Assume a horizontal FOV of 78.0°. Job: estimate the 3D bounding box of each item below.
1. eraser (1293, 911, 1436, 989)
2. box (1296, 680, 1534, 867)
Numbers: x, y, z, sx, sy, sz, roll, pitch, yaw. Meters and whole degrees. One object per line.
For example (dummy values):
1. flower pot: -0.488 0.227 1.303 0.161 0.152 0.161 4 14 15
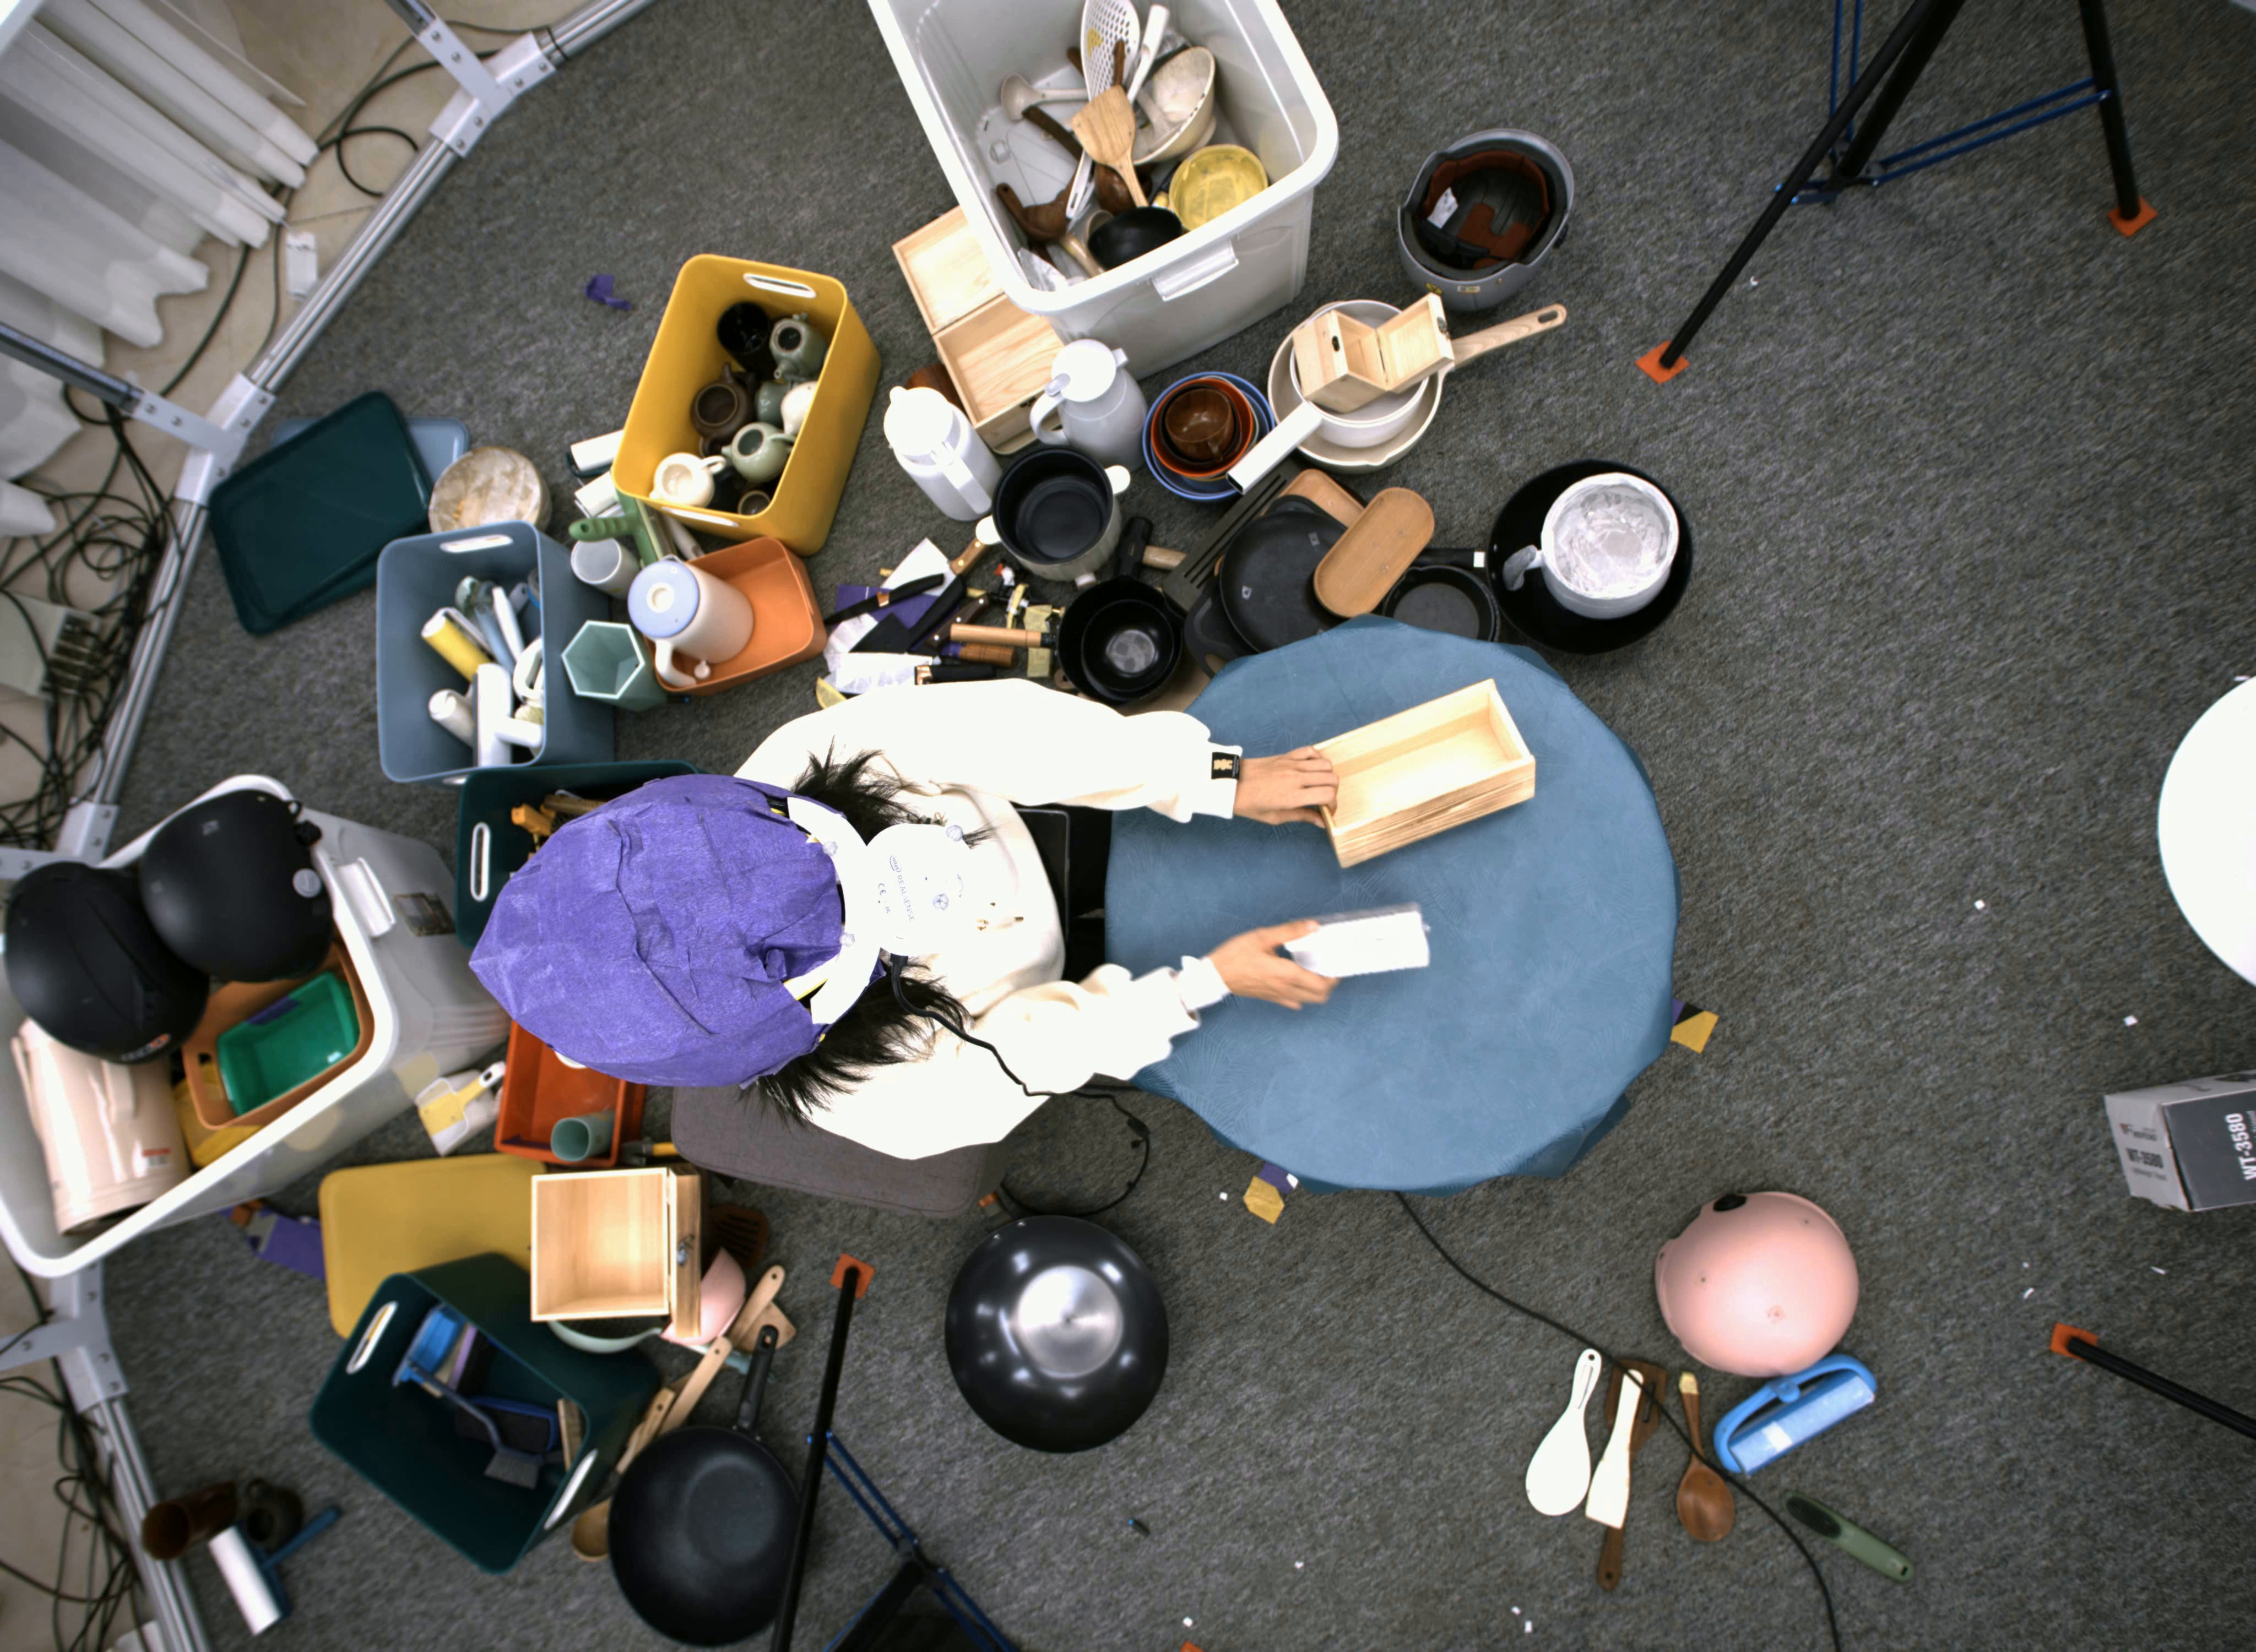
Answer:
1. eraser: 0.237 0.122 1.387 0.135 0.045 0.050 -12 118 19
2. box: 0.292 -0.054 1.403 0.212 0.081 0.105 -21 63 5
